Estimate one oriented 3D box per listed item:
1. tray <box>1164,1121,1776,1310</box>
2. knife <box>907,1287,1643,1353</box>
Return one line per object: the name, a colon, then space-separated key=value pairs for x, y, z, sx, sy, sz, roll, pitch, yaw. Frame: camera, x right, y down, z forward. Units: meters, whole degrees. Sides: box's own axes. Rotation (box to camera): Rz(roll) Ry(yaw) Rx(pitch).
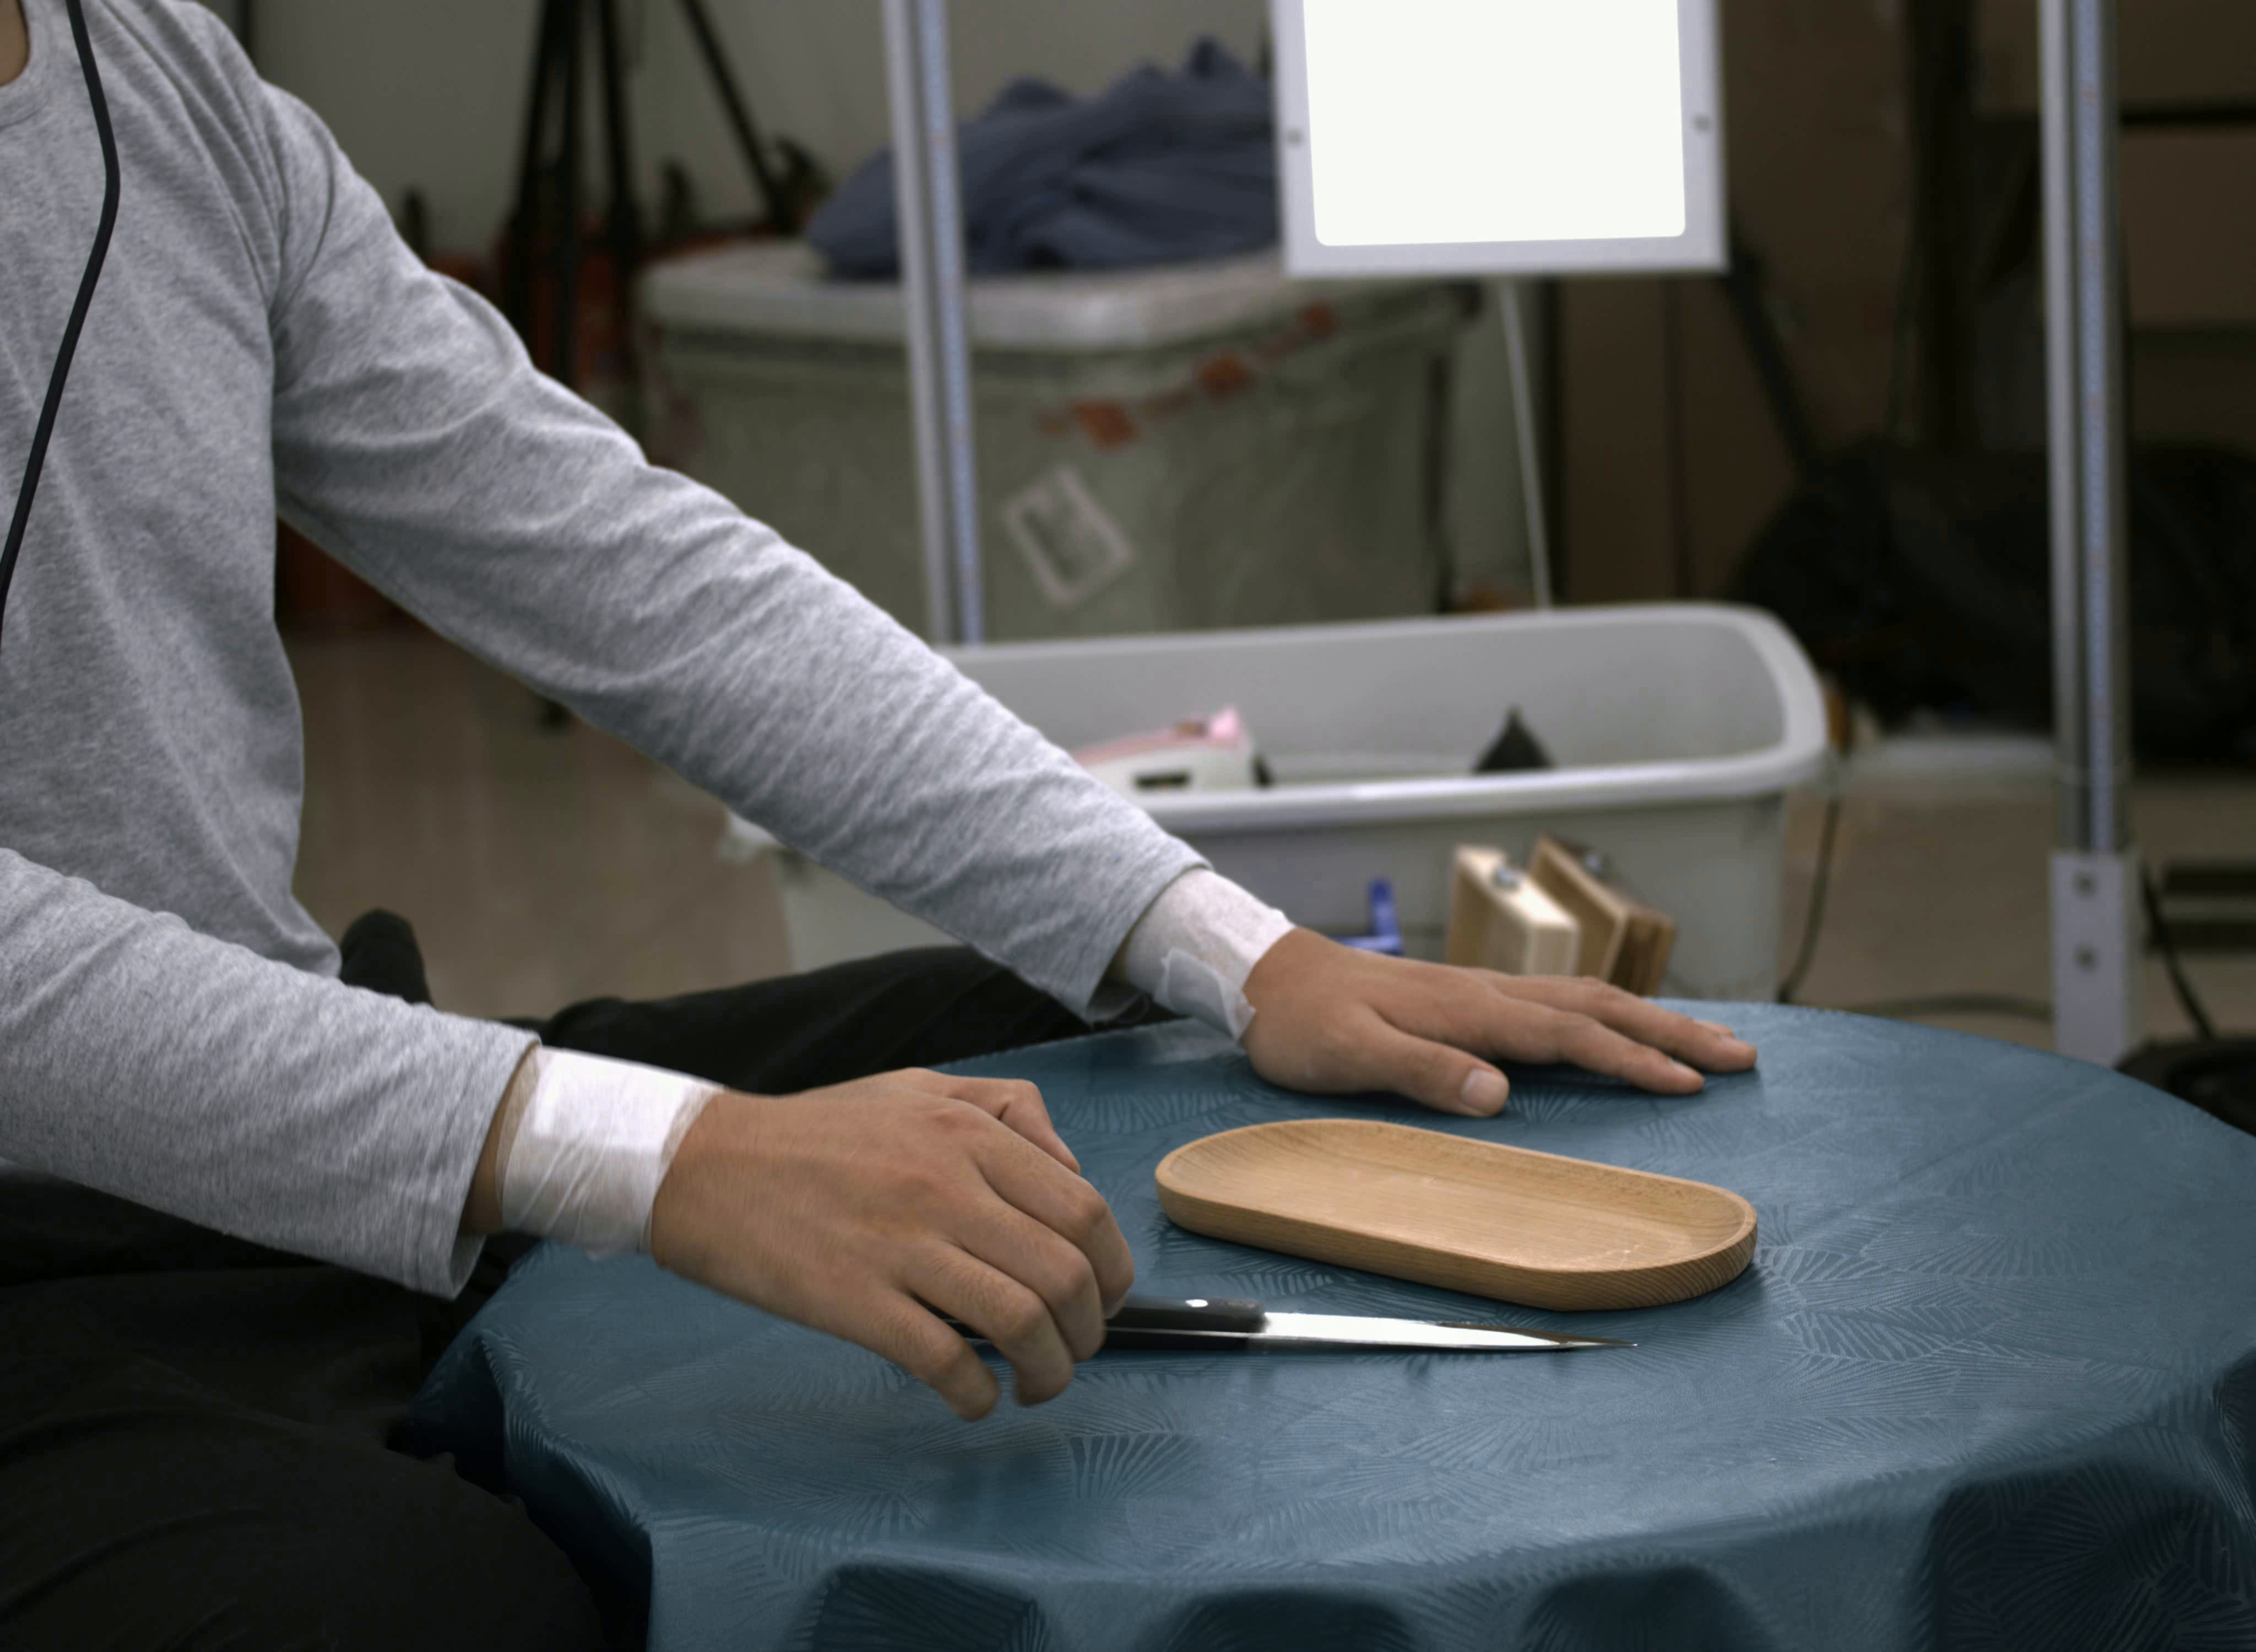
tray: x=0.111 y=0.128 z=1.824 sx=0.236 sy=0.020 sz=0.099 roll=9 pitch=21 yaw=42
knife: x=0.044 y=0.158 z=1.735 sx=0.240 sy=0.016 sz=0.024 roll=1 pitch=14 yaw=15
